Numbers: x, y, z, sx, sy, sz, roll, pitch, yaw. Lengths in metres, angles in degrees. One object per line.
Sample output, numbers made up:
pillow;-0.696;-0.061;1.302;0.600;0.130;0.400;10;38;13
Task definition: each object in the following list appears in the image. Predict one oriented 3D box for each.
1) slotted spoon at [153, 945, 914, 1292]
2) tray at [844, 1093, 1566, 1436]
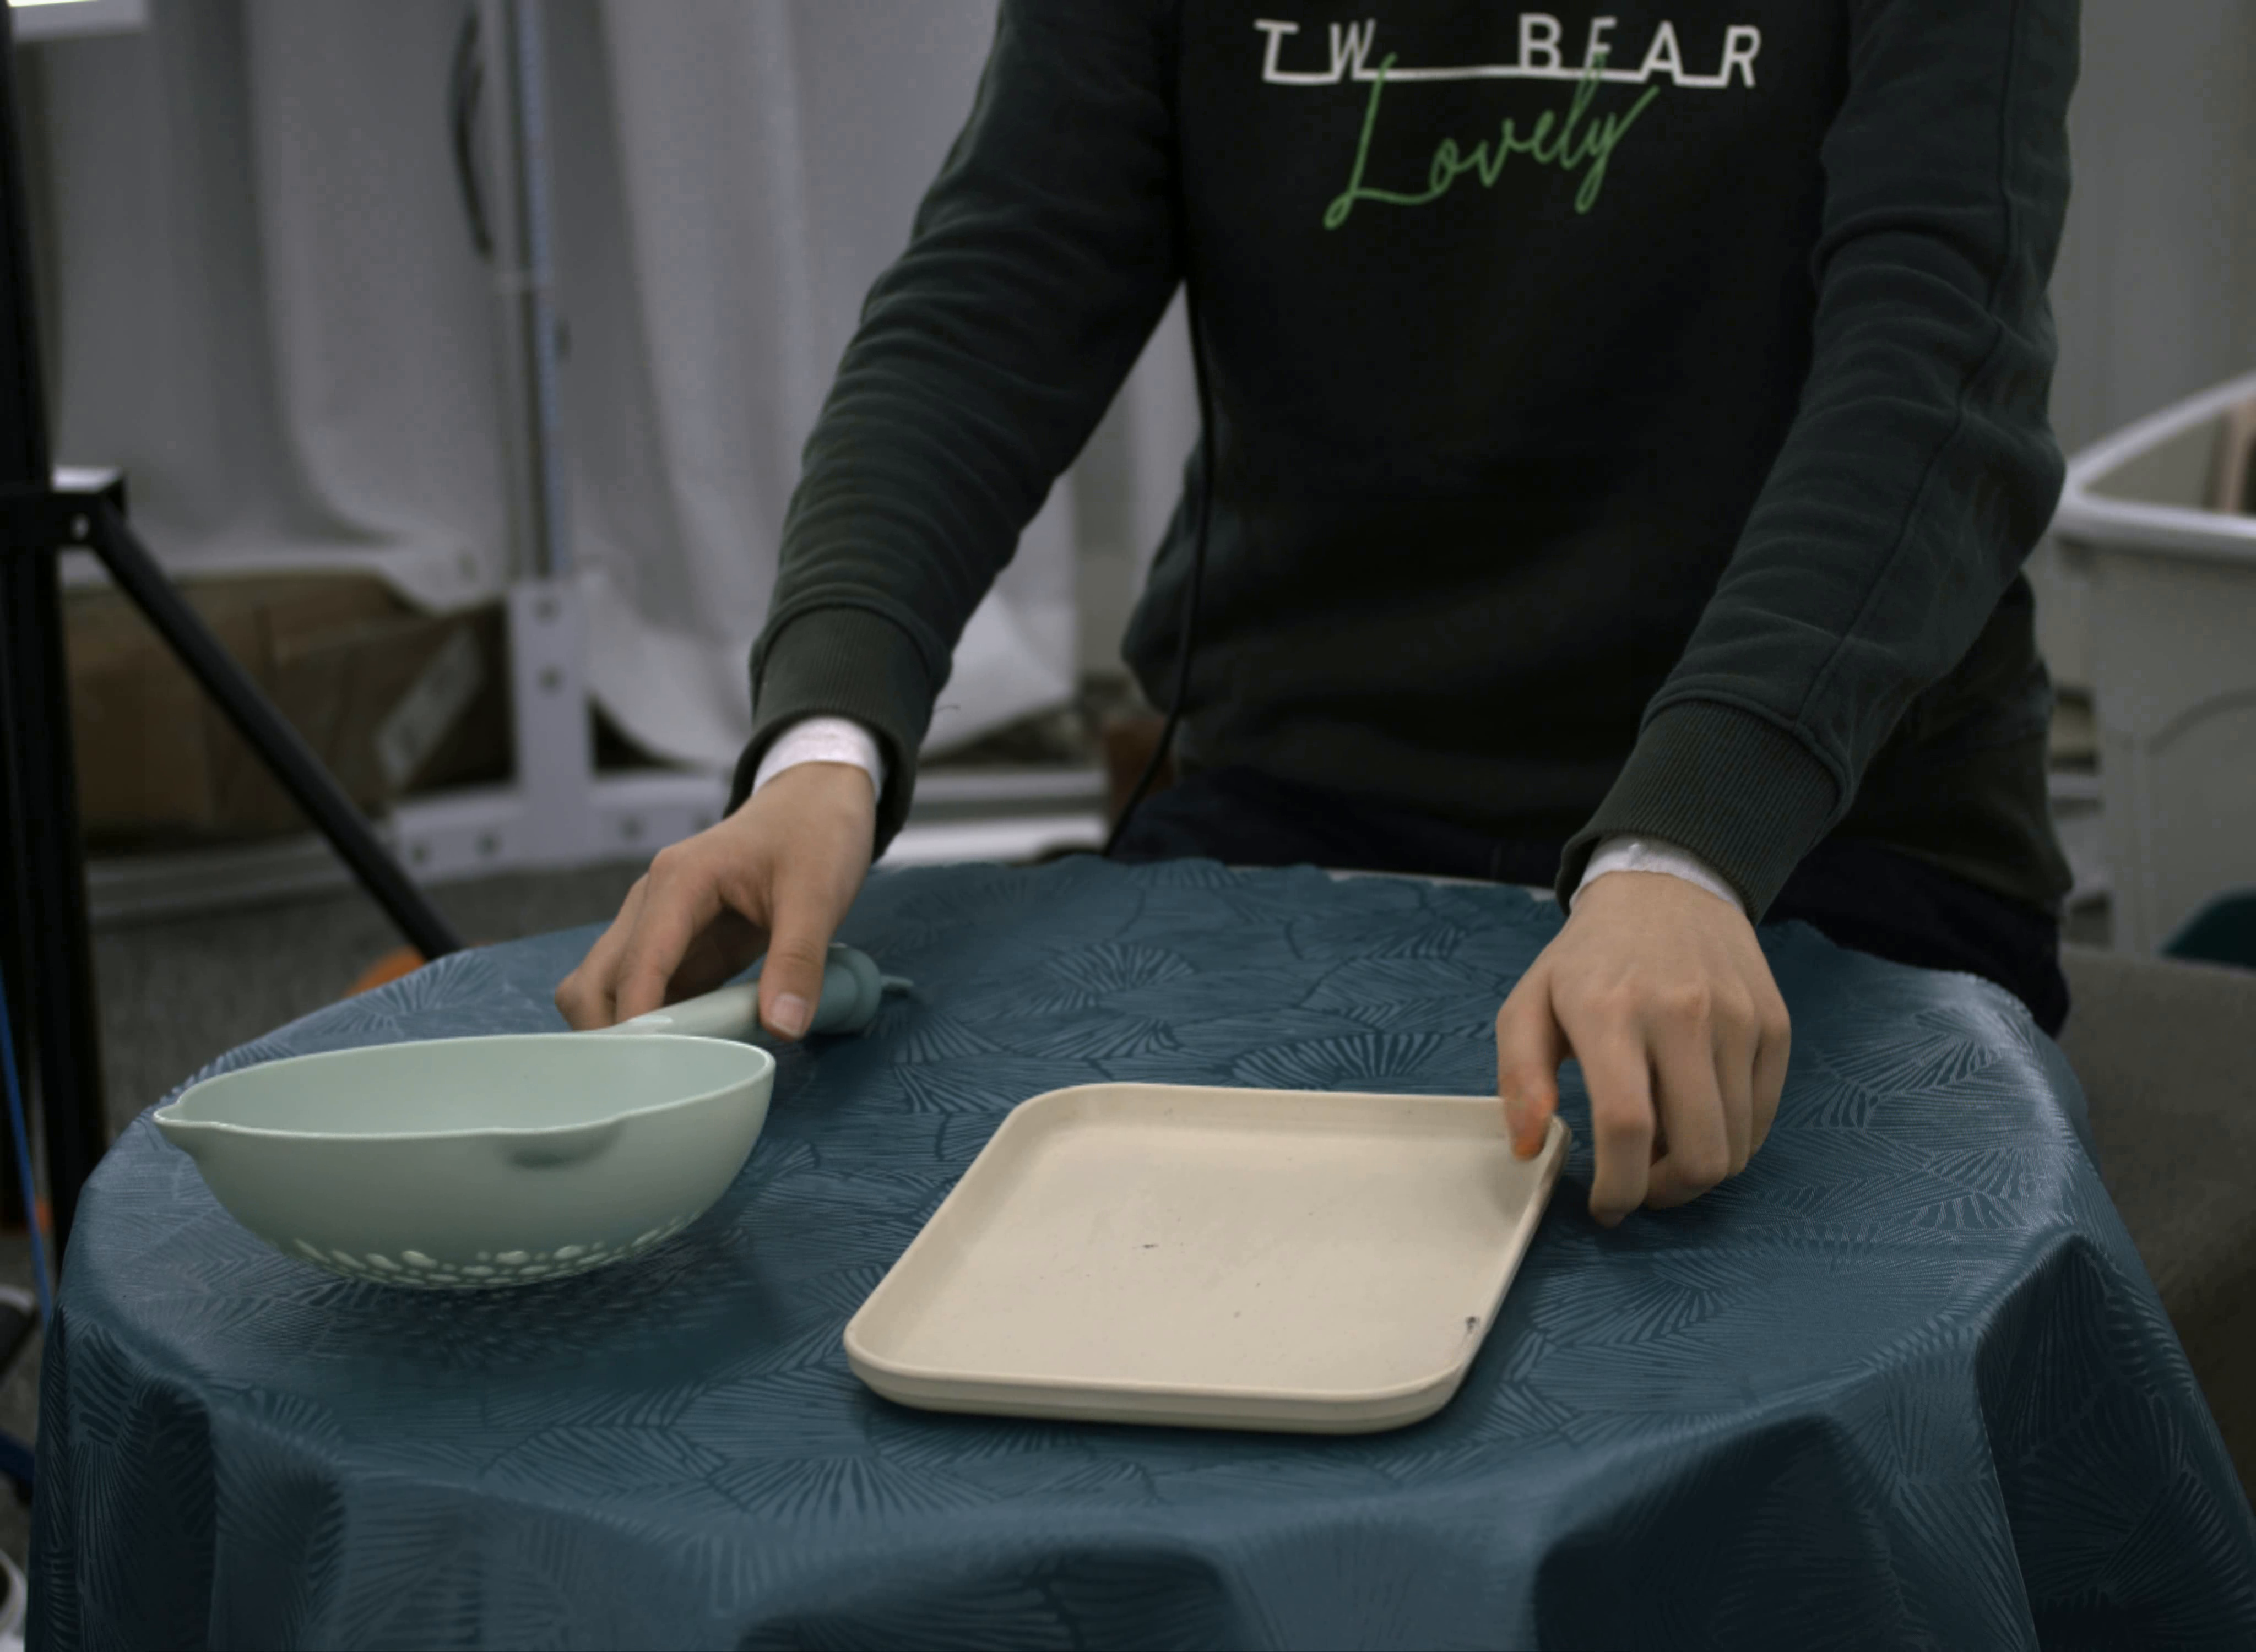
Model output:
slotted spoon;-0.146;0.072;1.592;0.171;0.075;0.354;0;16;23
tray;0.027;0.121;1.479;0.172;0.017;0.238;2;15;14
